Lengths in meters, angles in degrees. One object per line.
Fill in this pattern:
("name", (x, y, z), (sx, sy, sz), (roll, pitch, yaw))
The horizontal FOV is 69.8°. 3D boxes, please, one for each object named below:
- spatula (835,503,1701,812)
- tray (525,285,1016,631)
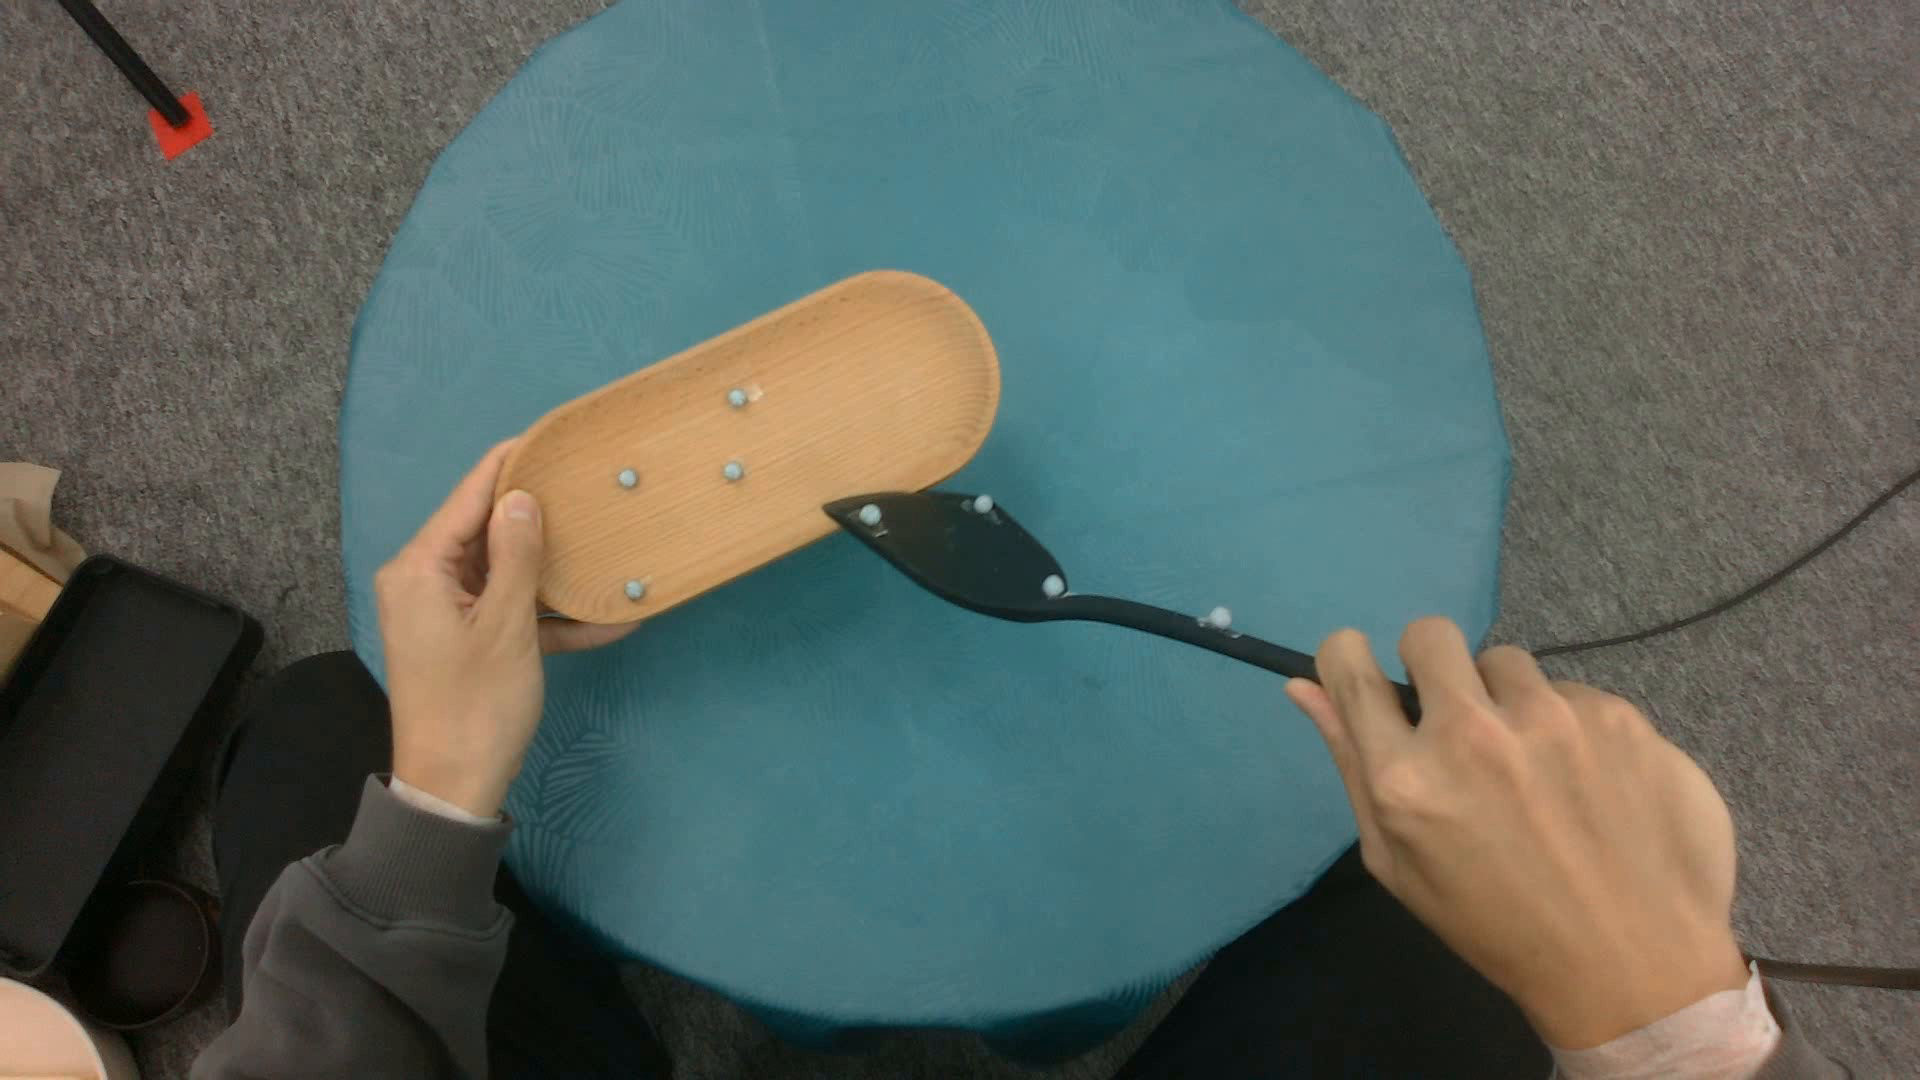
("spatula", (0.096, 0.034, 0.506), (0.325, 0.100, 0.040), (14, 104, 37))
("tray", (-0.084, -0.037, 0.623), (0.231, 0.020, 0.102), (-25, 84, -5))
